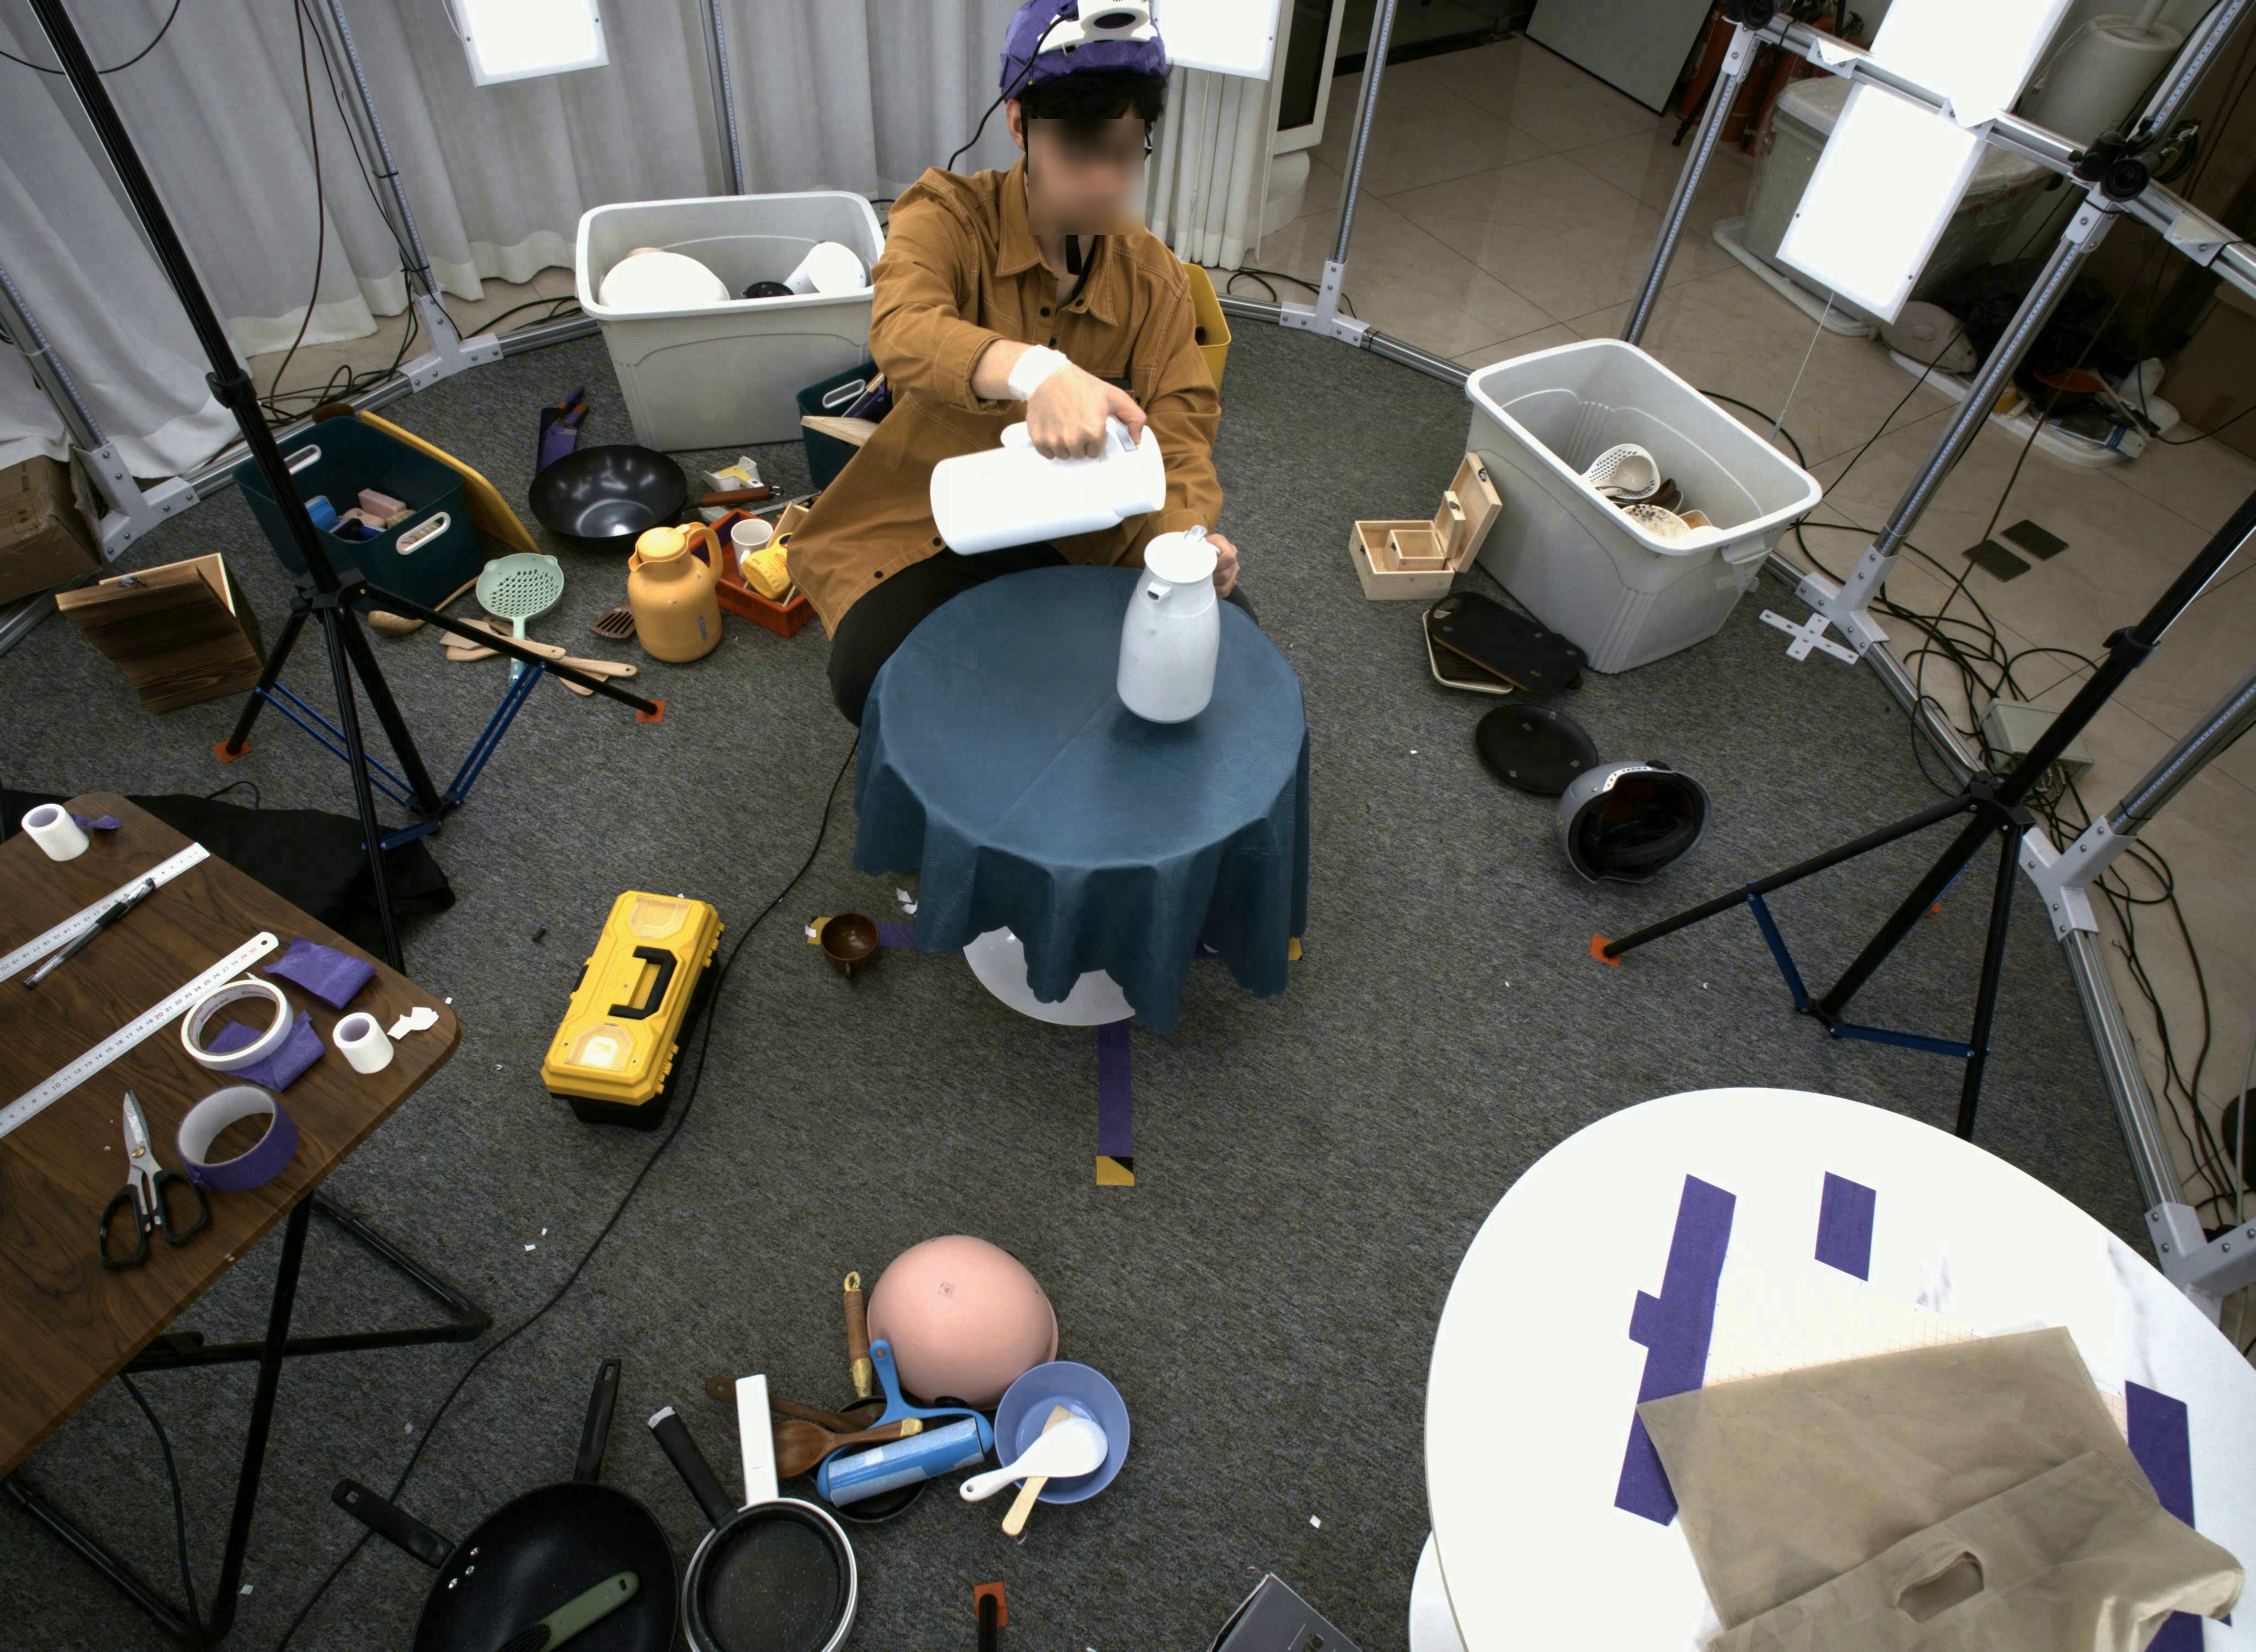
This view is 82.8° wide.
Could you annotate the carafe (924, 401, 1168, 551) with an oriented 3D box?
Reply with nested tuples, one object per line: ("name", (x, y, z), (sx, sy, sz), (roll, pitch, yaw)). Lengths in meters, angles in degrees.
("carafe", (-0.104, -0.408, 1.509), (0.269, 0.169, 0.126), (-3, 64, 20))

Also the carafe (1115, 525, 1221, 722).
("carafe", (0.065, -0.278, 1.685), (0.133, 0.243, 0.170), (28, 55, 17))
